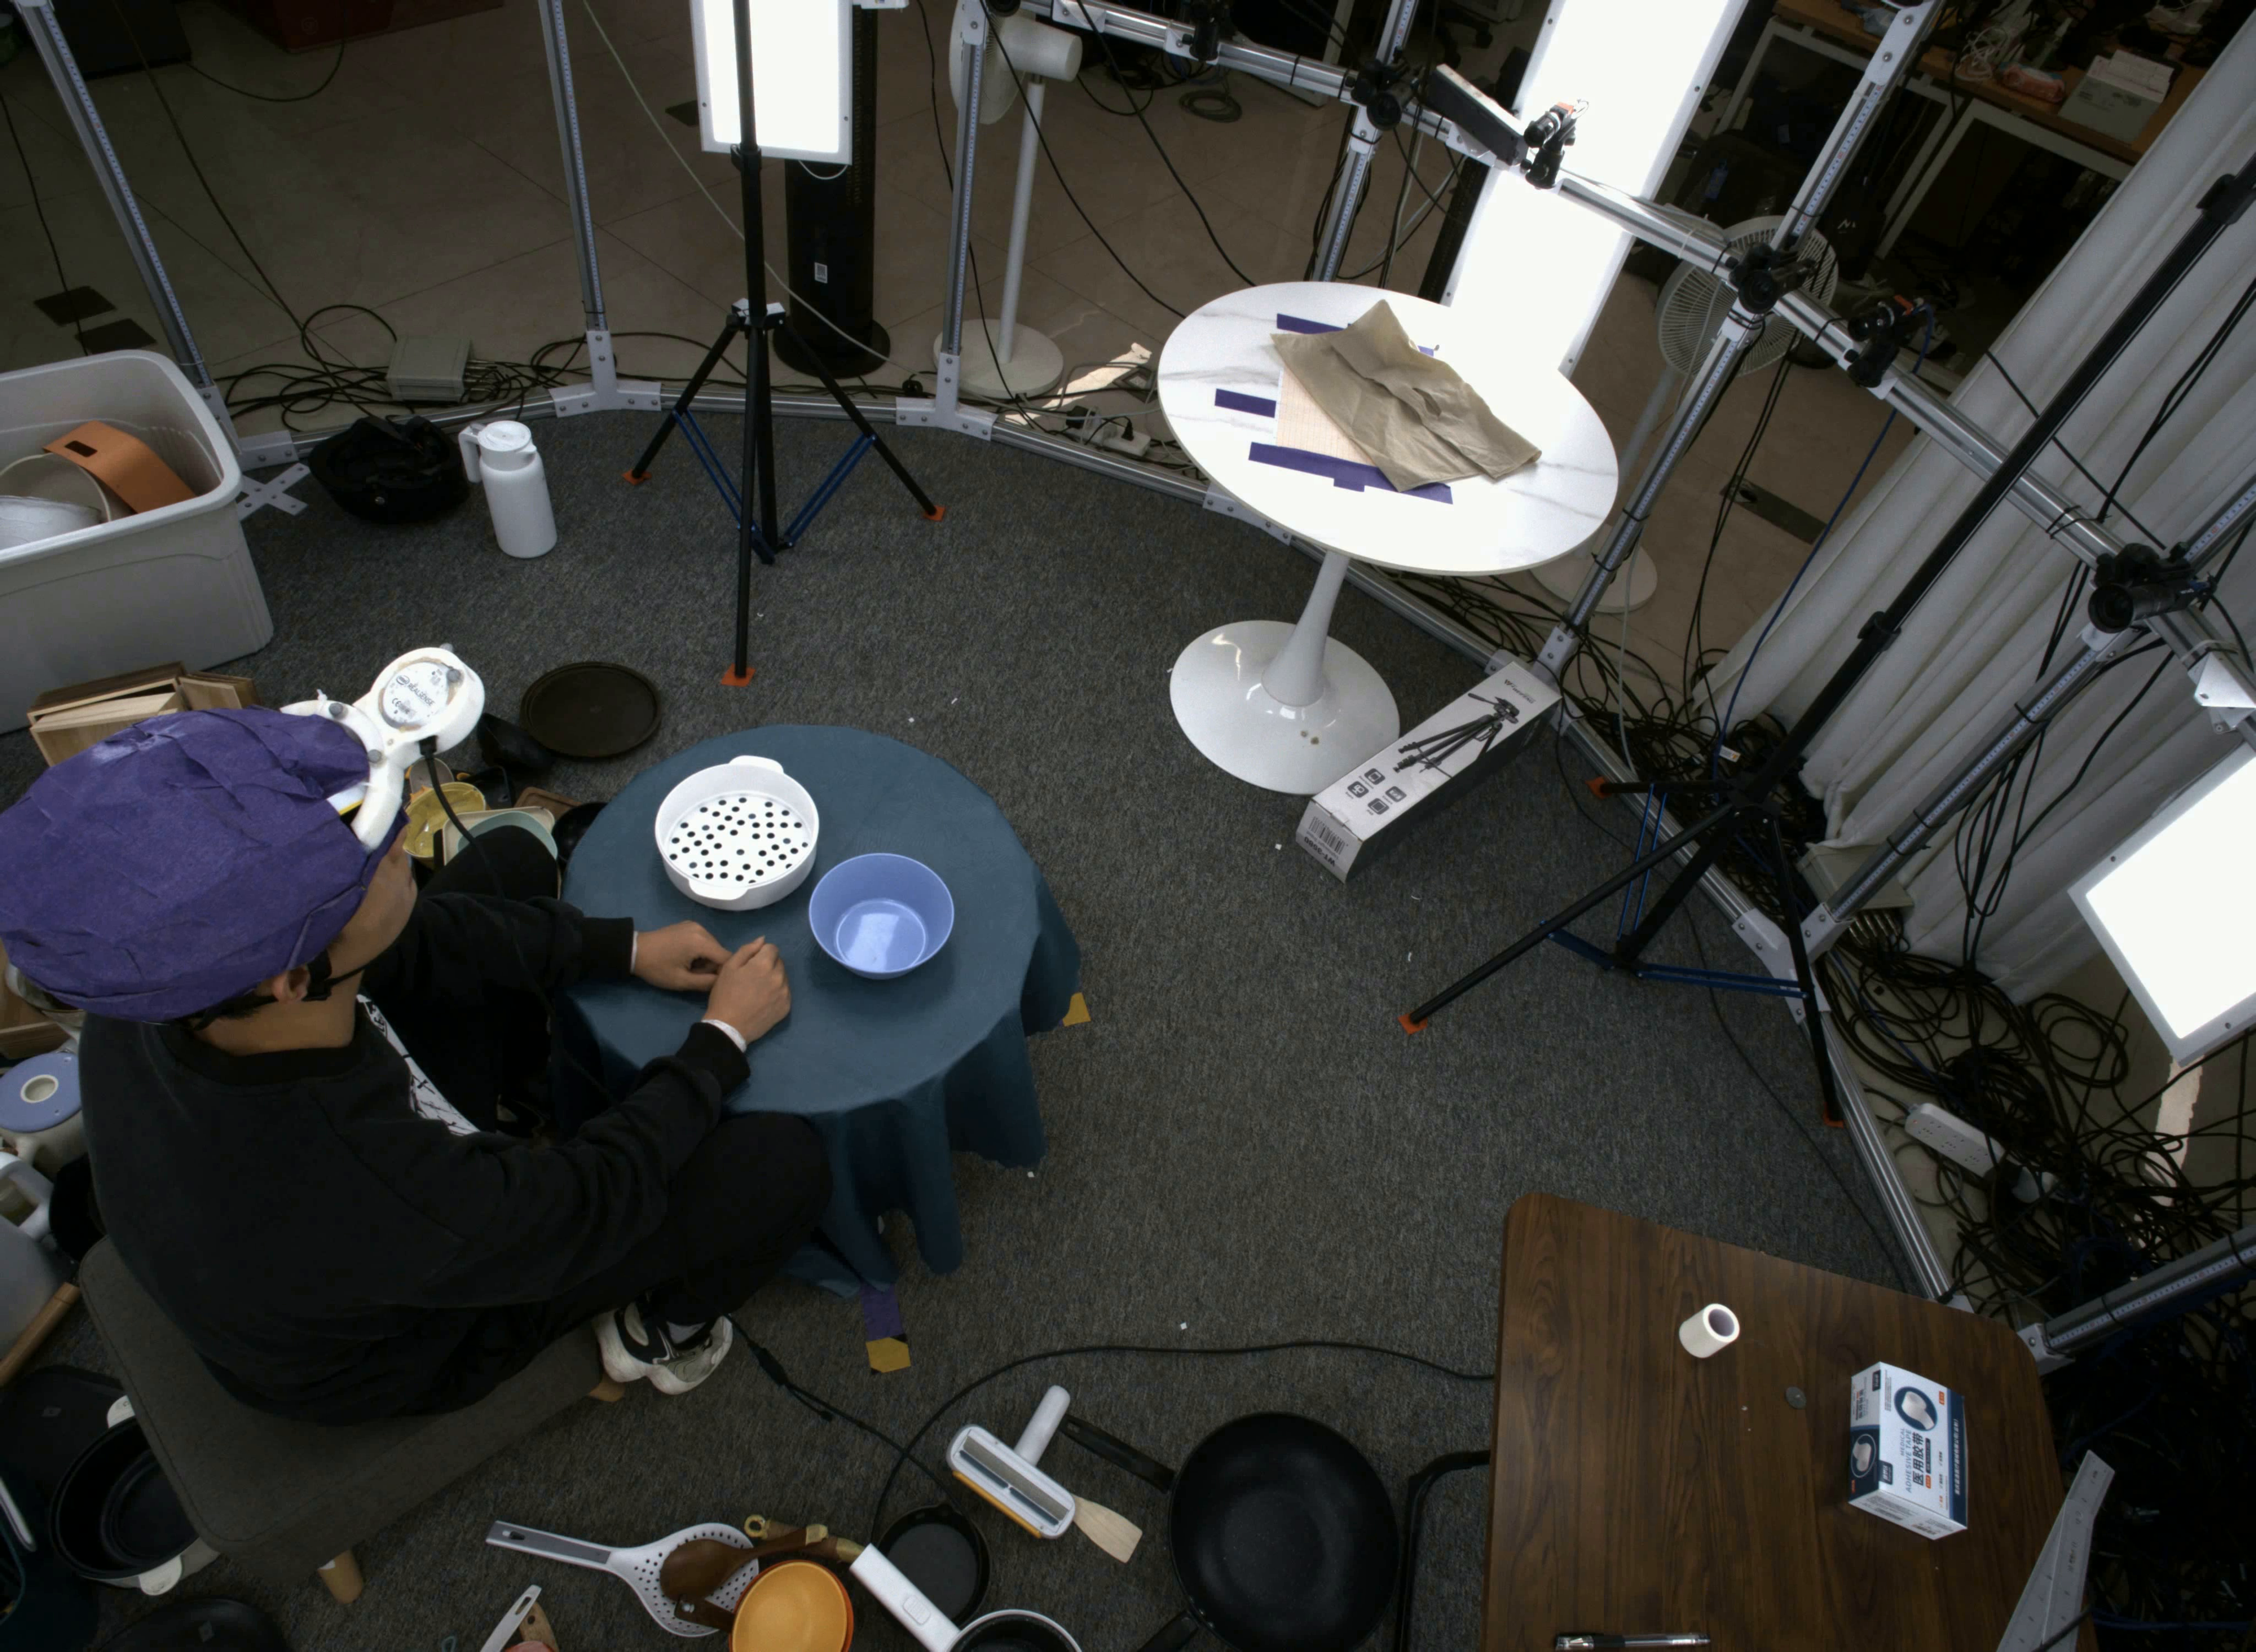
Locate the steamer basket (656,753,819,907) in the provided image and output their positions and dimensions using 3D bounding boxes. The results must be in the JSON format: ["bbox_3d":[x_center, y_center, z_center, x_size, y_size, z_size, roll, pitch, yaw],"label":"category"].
[{"bbox_3d":[-0.498,0.010,1.658,0.201,0.071,0.226,9,50,-7],"label":"steamer basket"}]

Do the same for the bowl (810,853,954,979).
[{"bbox_3d":[-0.306,0.122,1.623,0.175,0.072,0.173,7,52,-7],"label":"bowl"}]
